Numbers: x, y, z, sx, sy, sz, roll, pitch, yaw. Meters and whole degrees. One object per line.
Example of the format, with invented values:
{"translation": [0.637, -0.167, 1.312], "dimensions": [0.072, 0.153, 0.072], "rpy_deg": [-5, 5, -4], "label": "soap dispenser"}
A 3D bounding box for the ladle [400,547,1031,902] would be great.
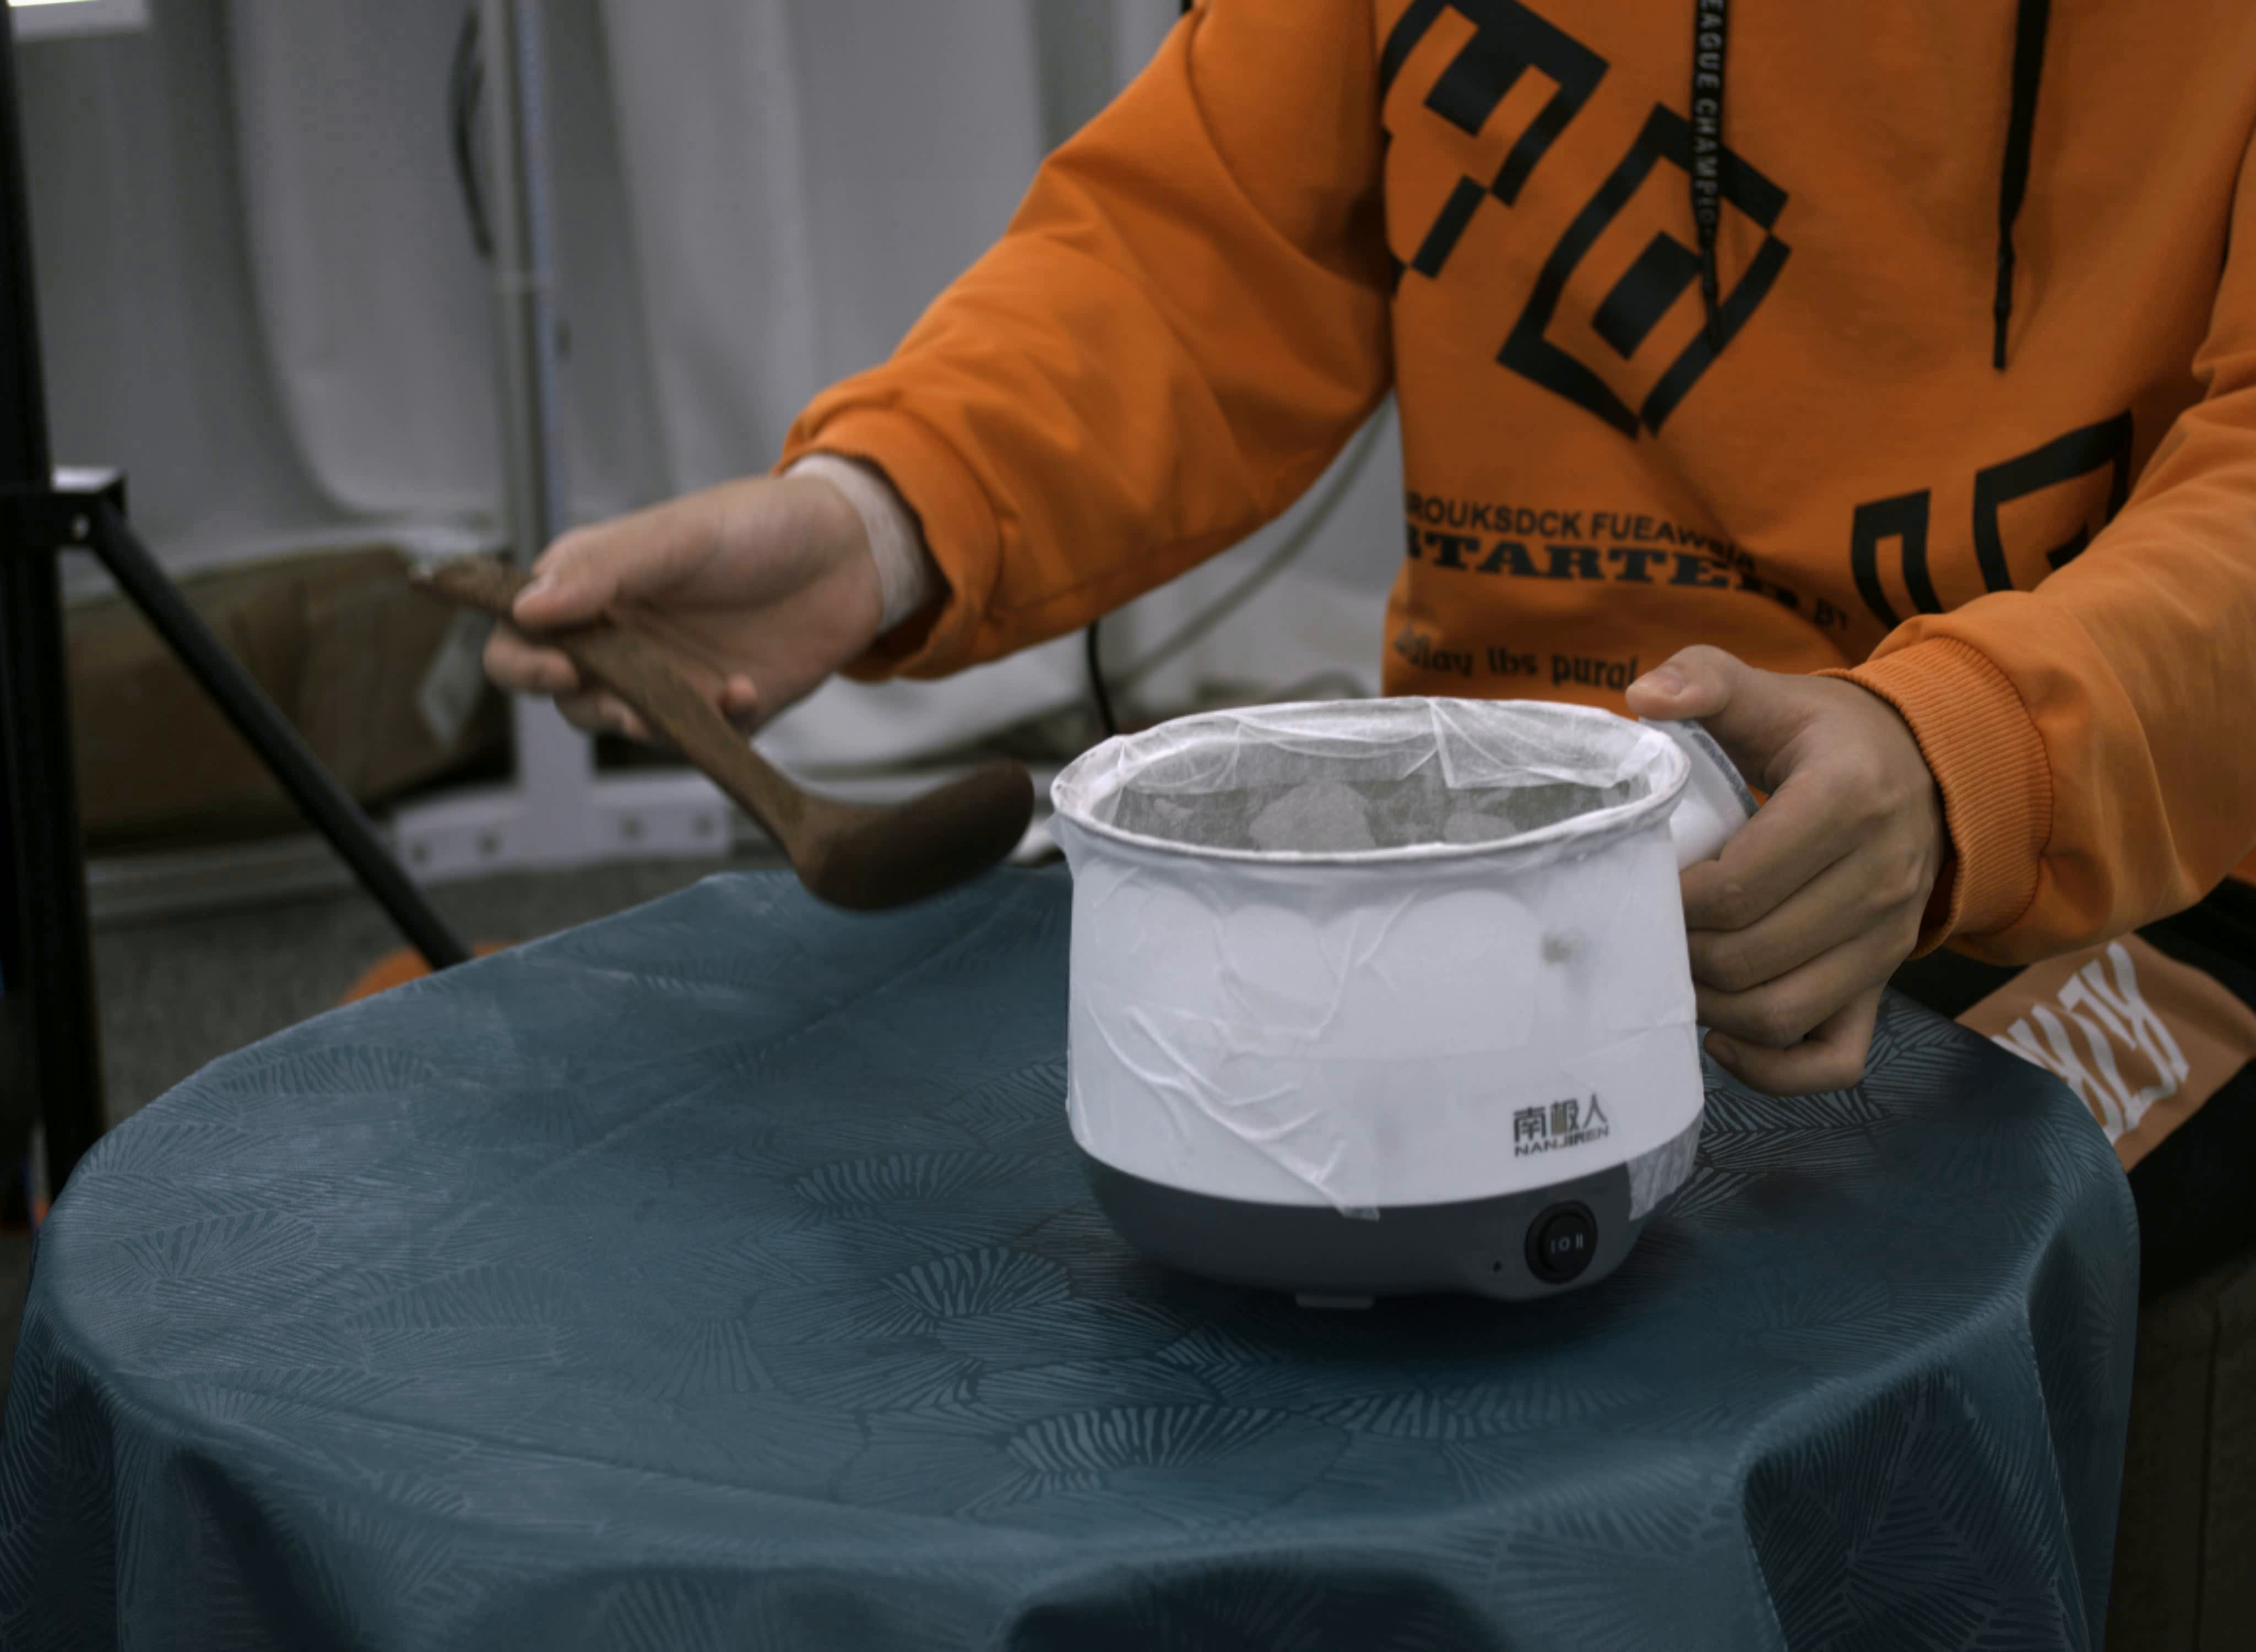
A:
{"translation": [-0.135, -0.052, 1.647], "dimensions": [0.074, 0.071, 0.280], "rpy_deg": [-16, 38, -39], "label": "ladle"}

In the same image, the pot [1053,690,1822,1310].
{"translation": [0.094, 0.041, 1.482], "dimensions": [0.228, 0.136, 0.182], "rpy_deg": [-11, 17, -29], "label": "pot"}
